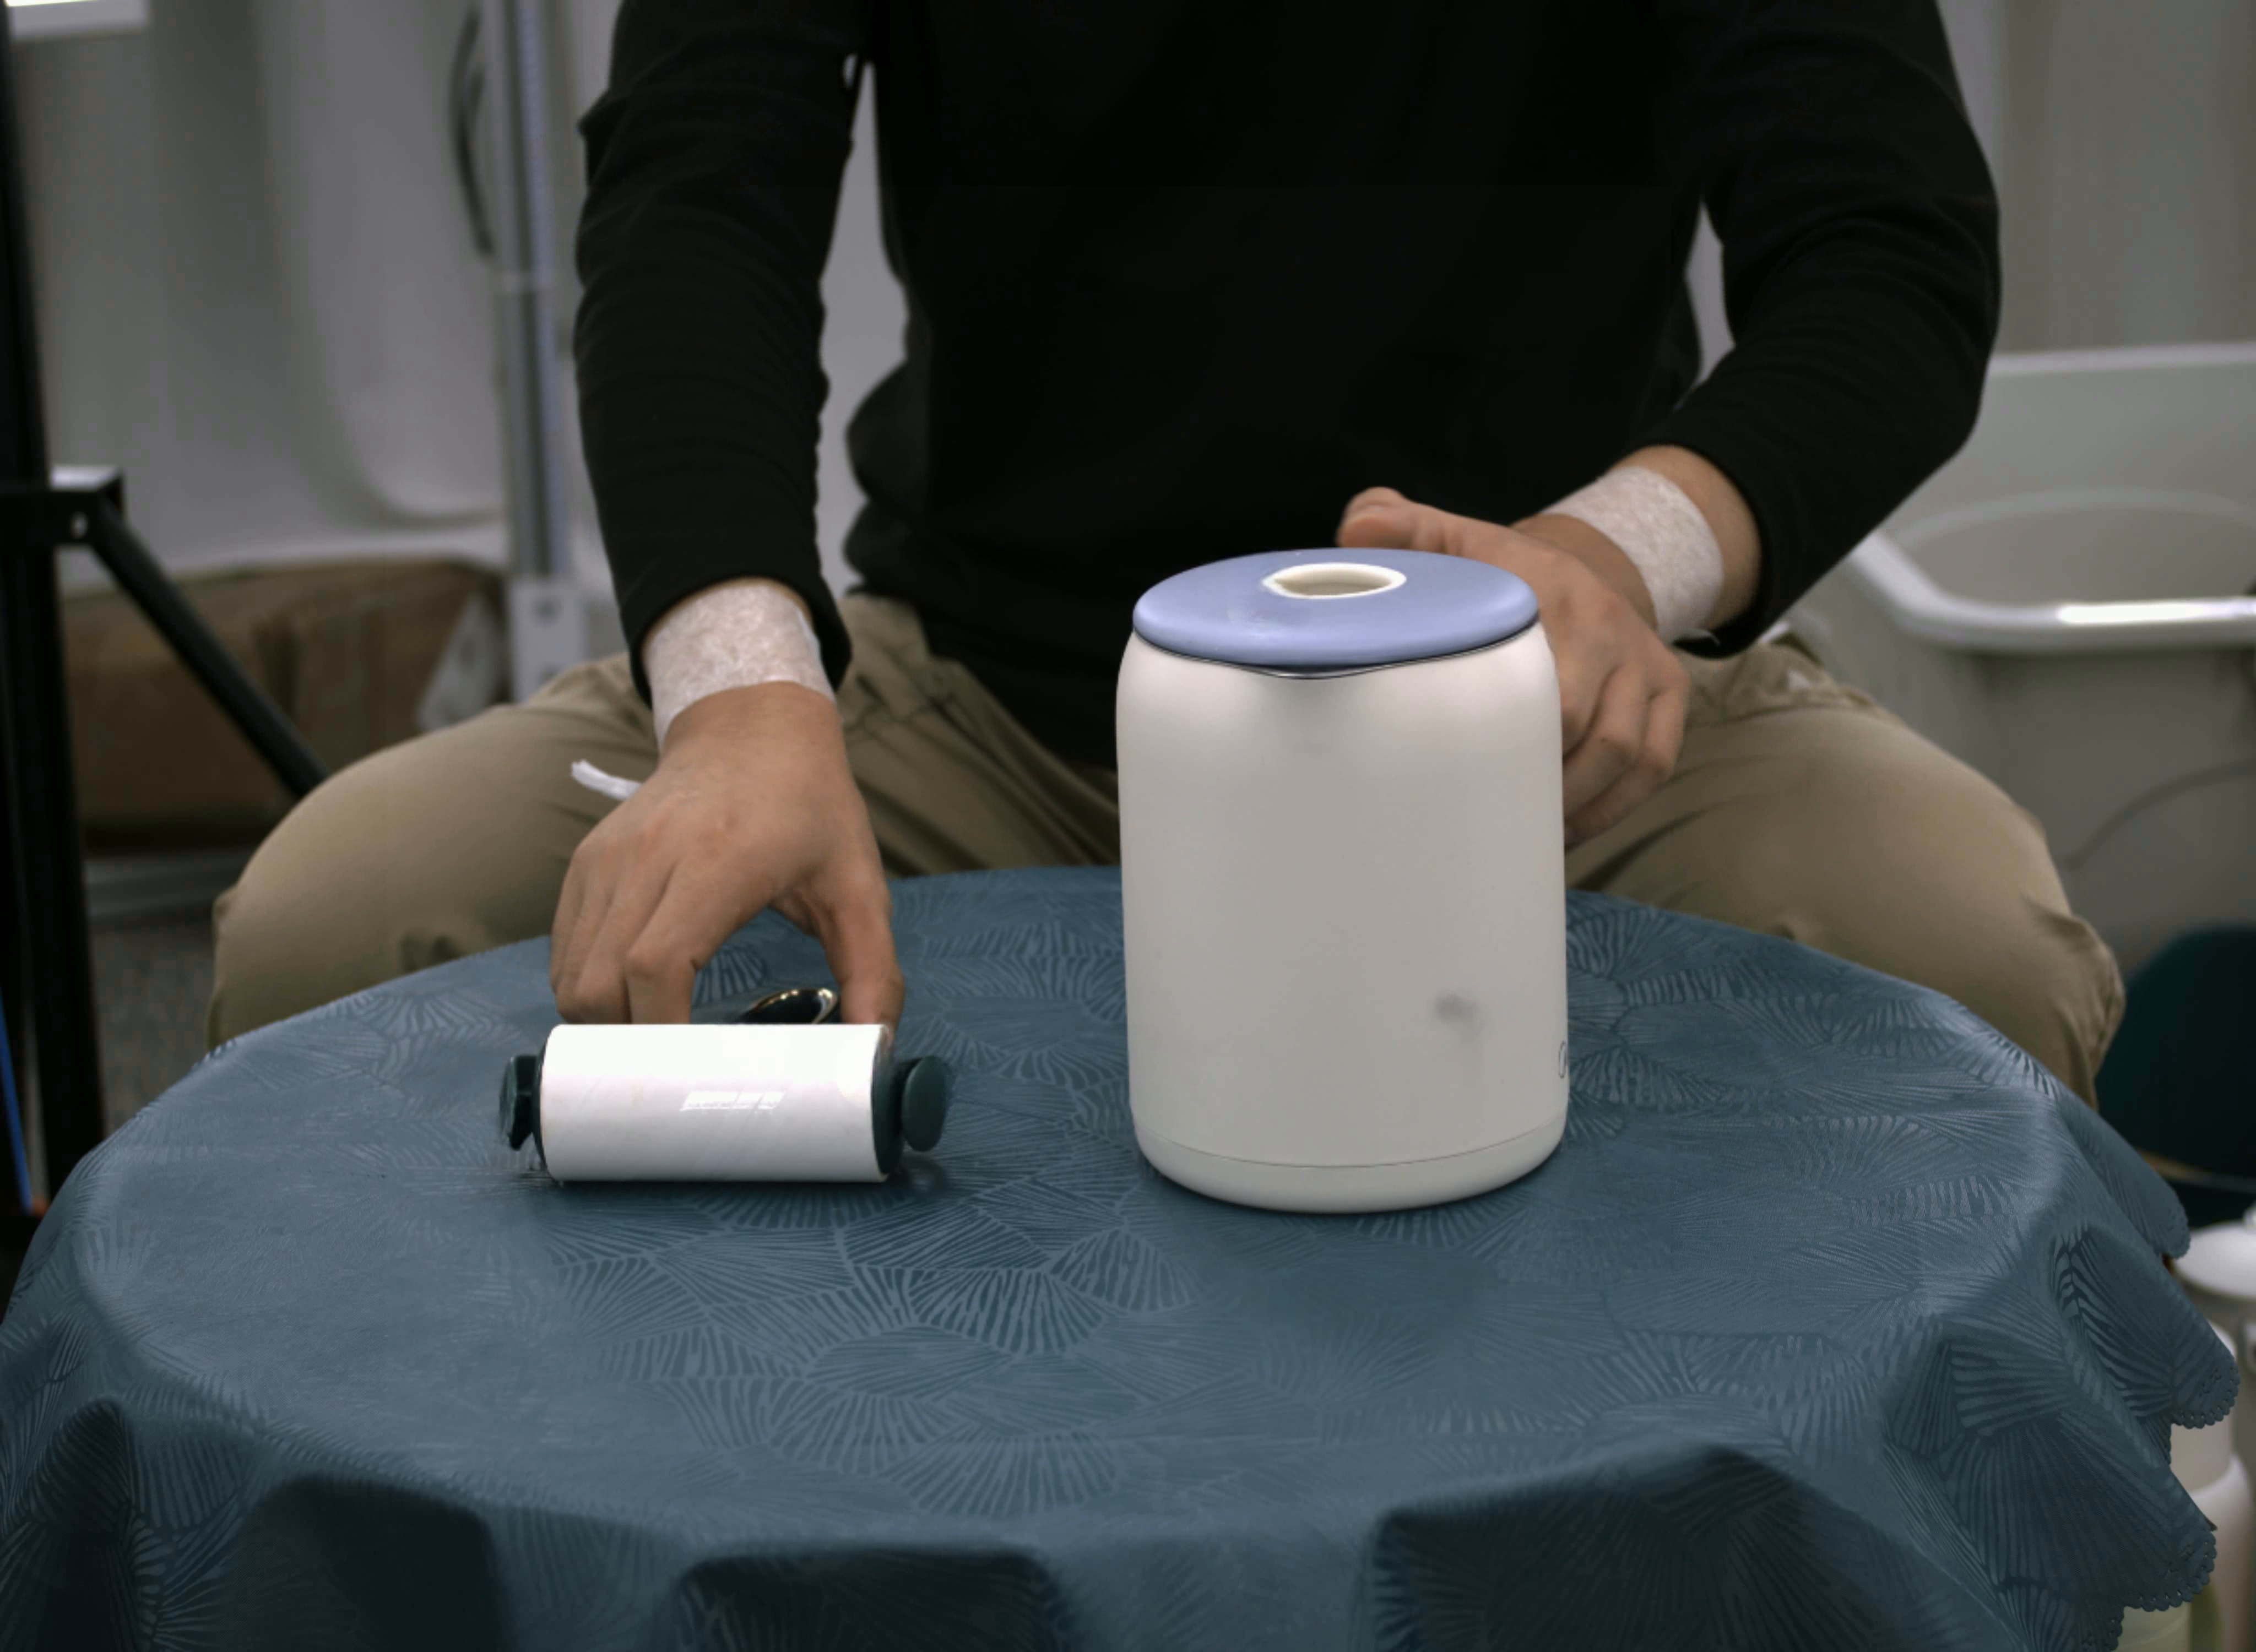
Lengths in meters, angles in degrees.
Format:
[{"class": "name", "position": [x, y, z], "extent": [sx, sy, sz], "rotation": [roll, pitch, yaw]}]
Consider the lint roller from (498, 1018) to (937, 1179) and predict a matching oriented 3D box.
[{"class": "lint roller", "position": [-0.114, 0.067, 1.648], "extent": [0.134, 0.048, 0.179], "rotation": [0, 13, 8]}]

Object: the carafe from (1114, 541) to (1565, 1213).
[{"class": "carafe", "position": [0.066, 0.008, 1.586], "extent": [0.132, 0.182, 0.190], "rotation": [0, 13, 7]}]
